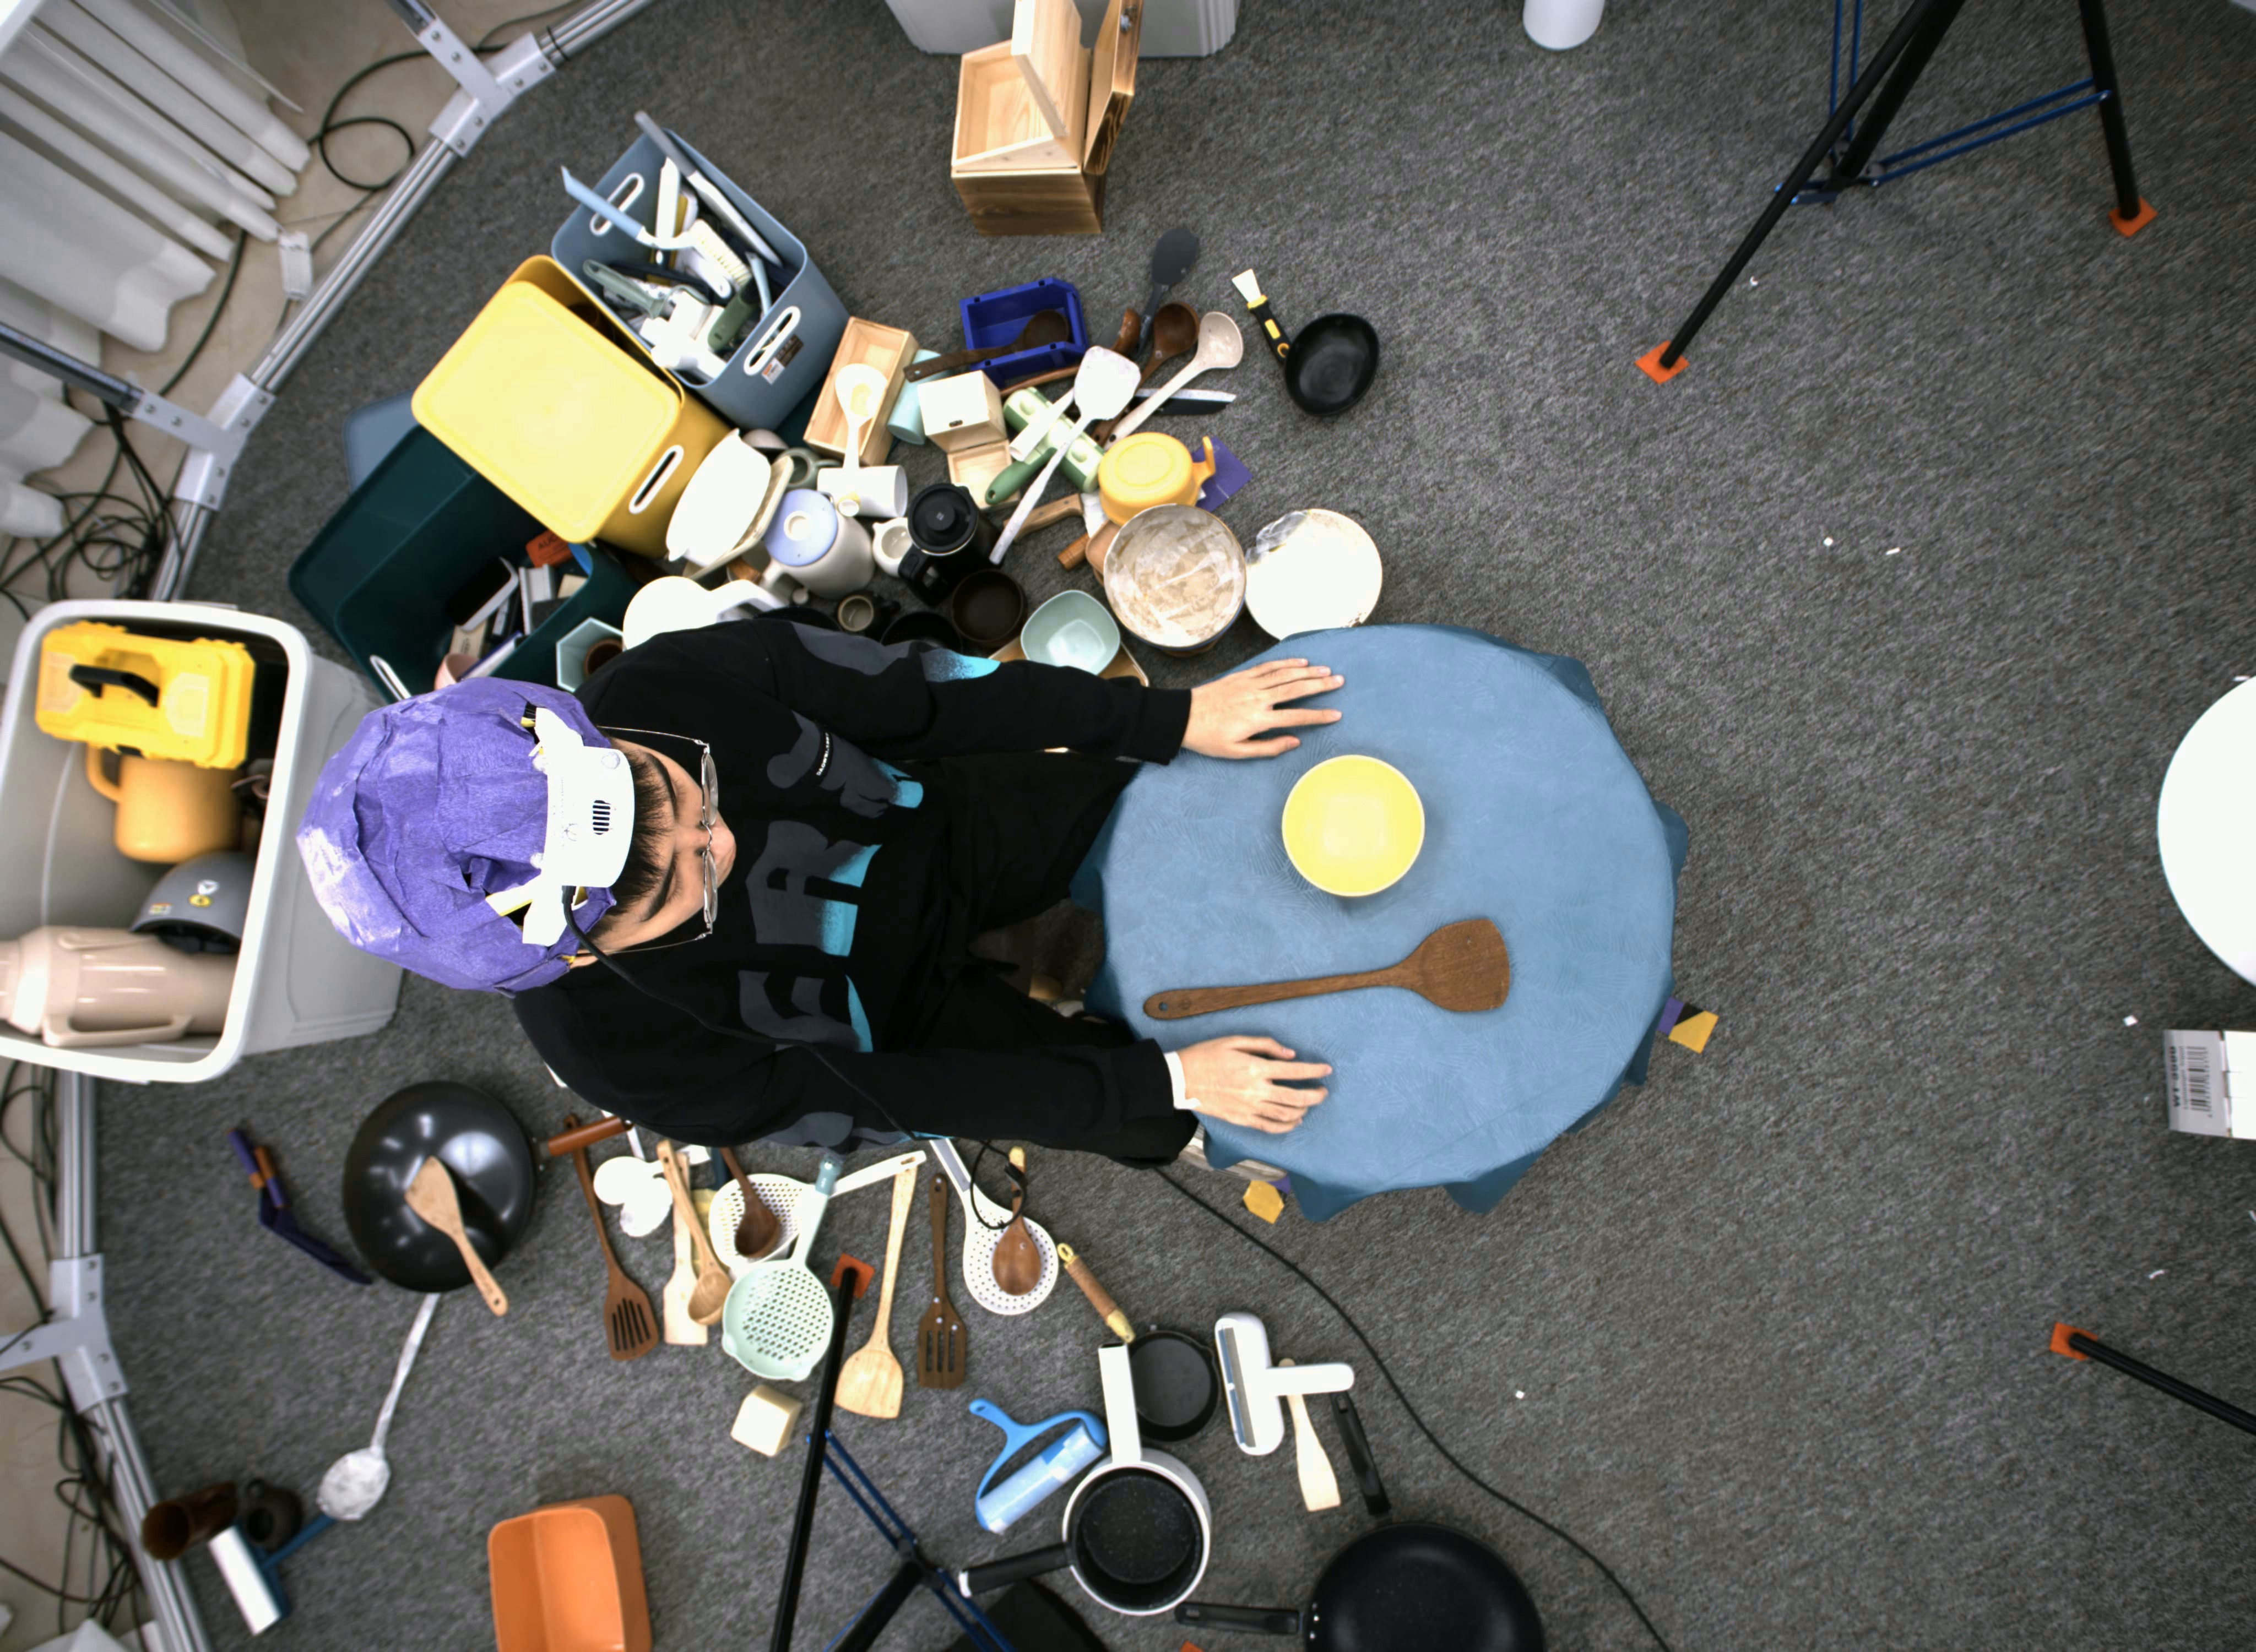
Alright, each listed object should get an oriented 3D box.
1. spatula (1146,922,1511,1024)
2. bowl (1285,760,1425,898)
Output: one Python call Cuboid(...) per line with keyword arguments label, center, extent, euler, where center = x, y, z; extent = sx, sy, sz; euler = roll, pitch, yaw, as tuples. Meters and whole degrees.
Cuboid(label="spatula", center=(0.207, 0.170, 1.463), extent=(0.388, 0.016, 0.095), euler=(-9, 84, 10))
Cuboid(label="bowl", center=(0.238, 0.006, 1.447), extent=(0.146, 0.060, 0.144), euler=(-2, 83, 11))
